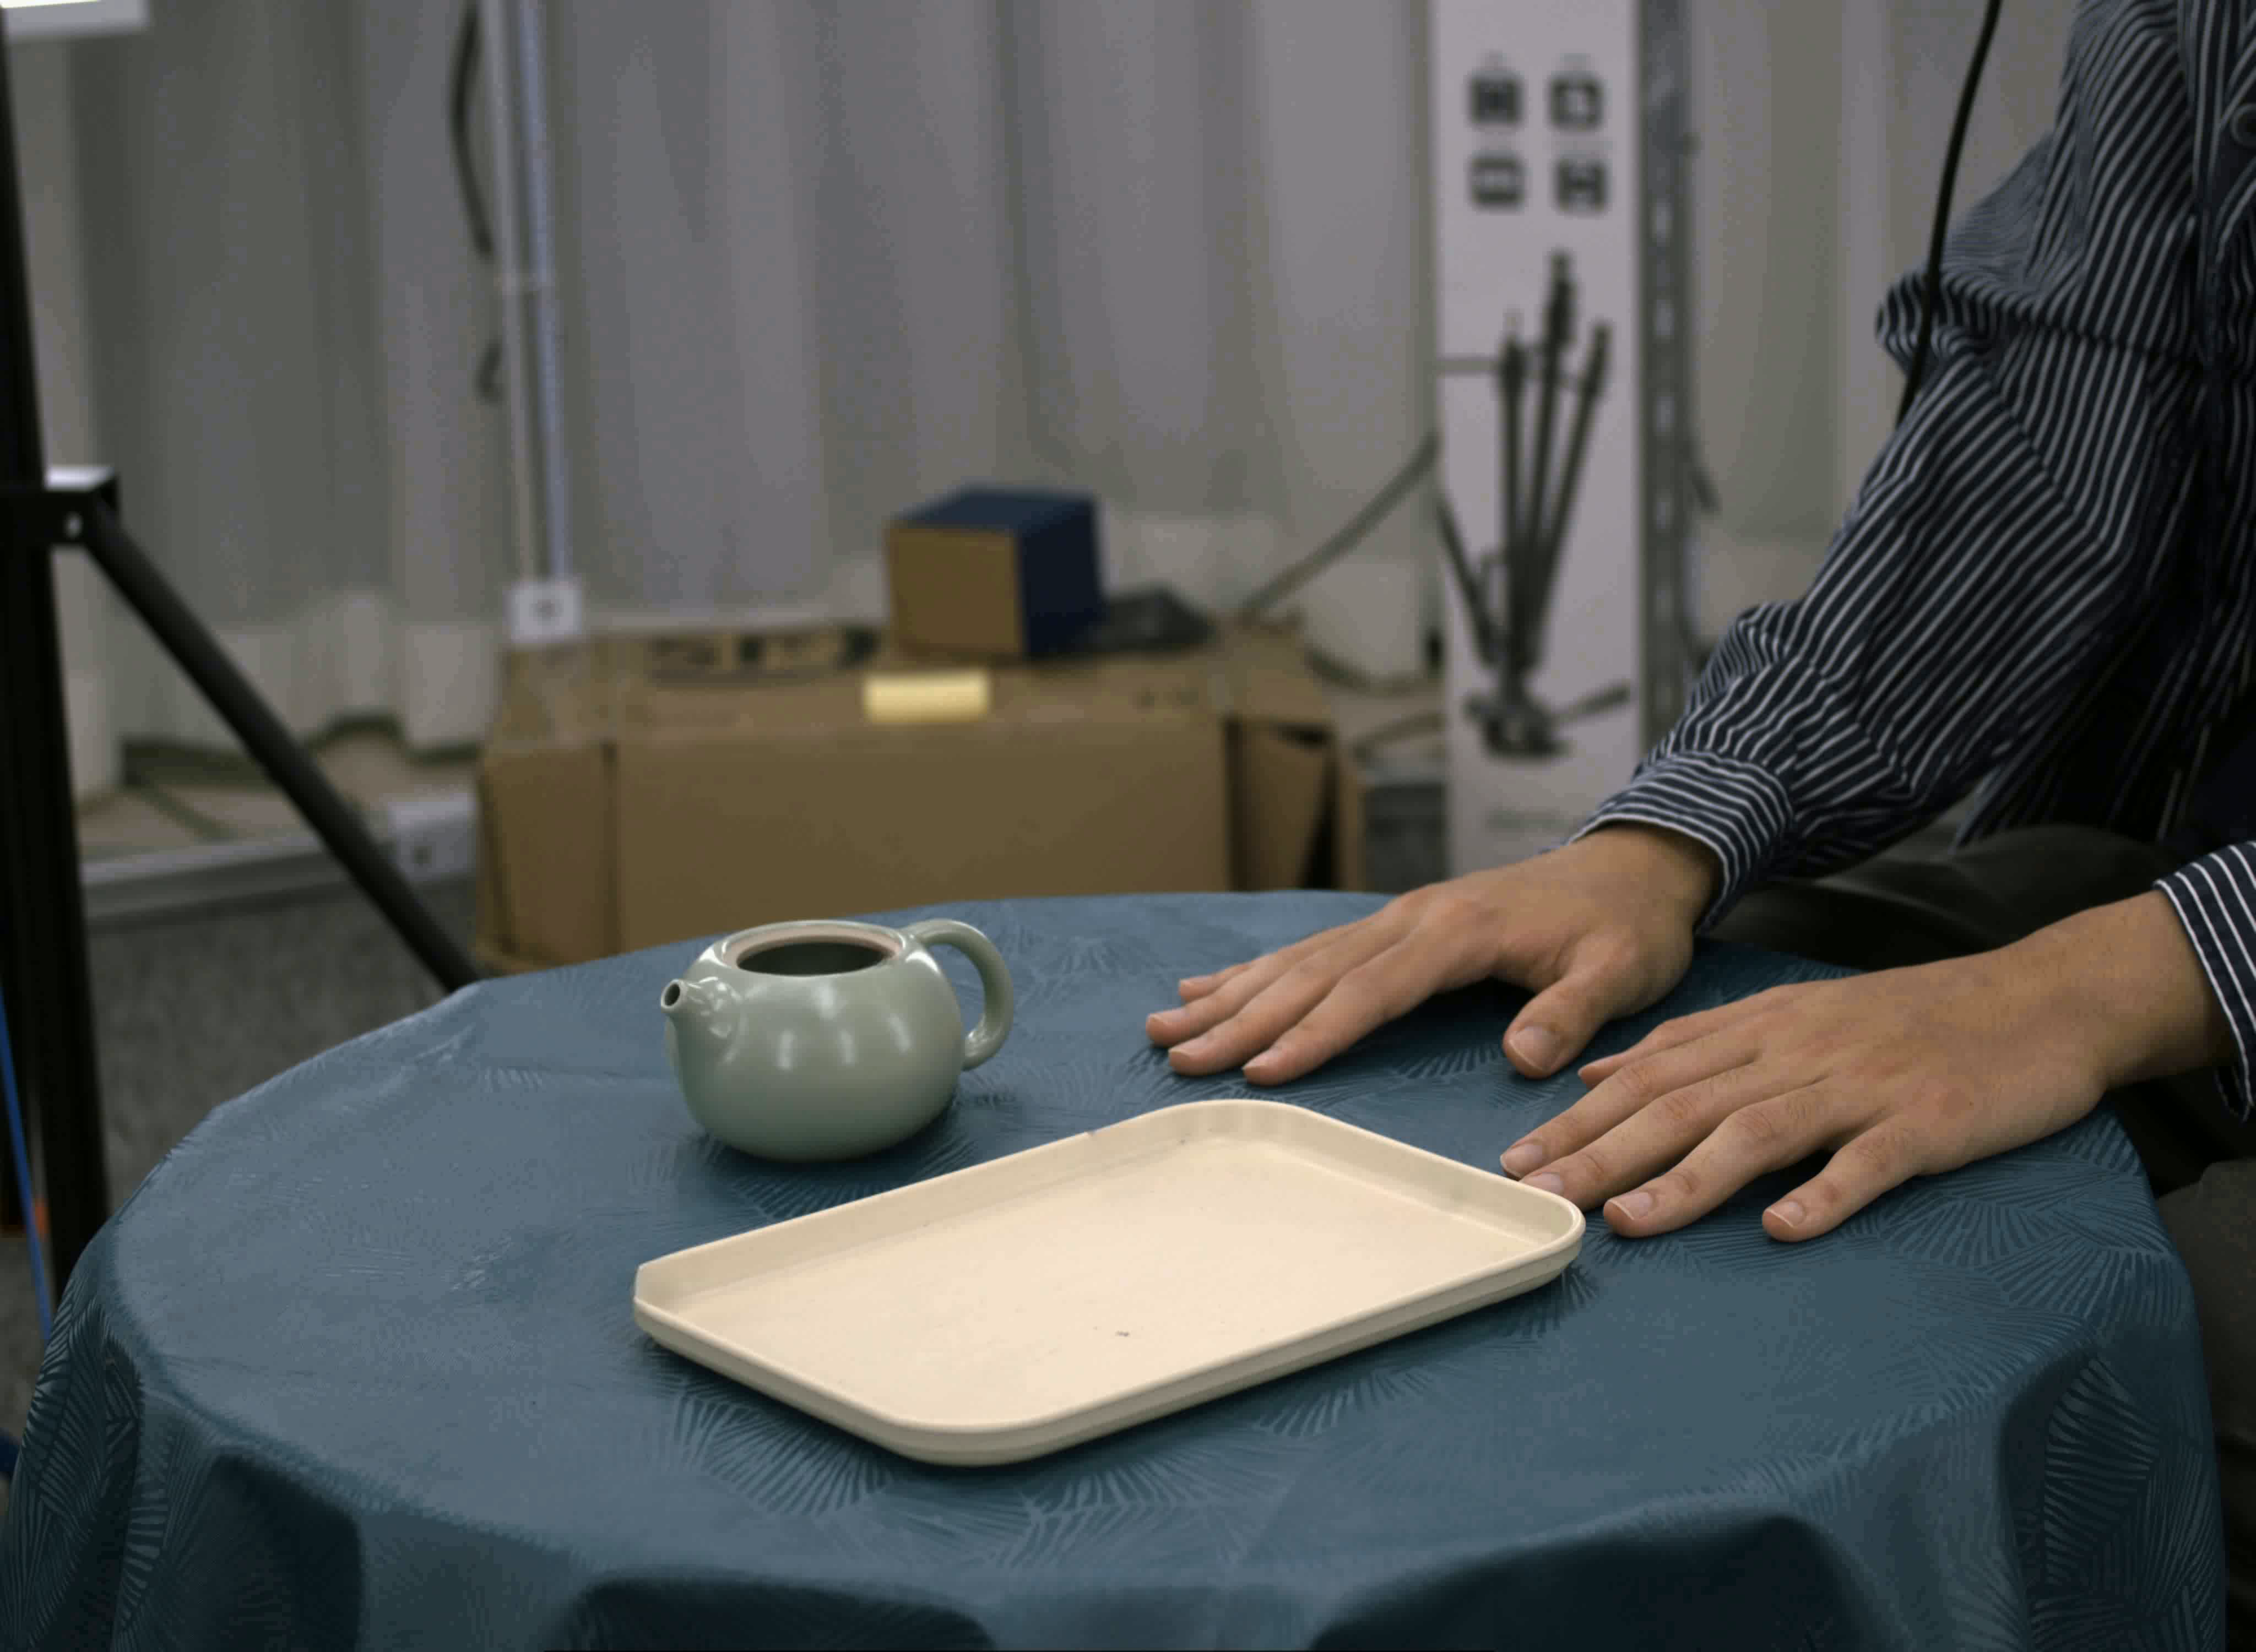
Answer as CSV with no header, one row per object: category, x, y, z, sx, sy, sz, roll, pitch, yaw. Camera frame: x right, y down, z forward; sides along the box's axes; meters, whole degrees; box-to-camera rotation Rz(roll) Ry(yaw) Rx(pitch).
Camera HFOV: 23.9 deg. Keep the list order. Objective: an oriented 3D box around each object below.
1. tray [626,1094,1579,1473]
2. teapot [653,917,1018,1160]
tray,-0.005,0.125,1.472,0.234,0.017,0.175,-14,20,-36
teapot,-0.088,0.063,1.625,0.125,0.061,0.093,-12,16,-31
